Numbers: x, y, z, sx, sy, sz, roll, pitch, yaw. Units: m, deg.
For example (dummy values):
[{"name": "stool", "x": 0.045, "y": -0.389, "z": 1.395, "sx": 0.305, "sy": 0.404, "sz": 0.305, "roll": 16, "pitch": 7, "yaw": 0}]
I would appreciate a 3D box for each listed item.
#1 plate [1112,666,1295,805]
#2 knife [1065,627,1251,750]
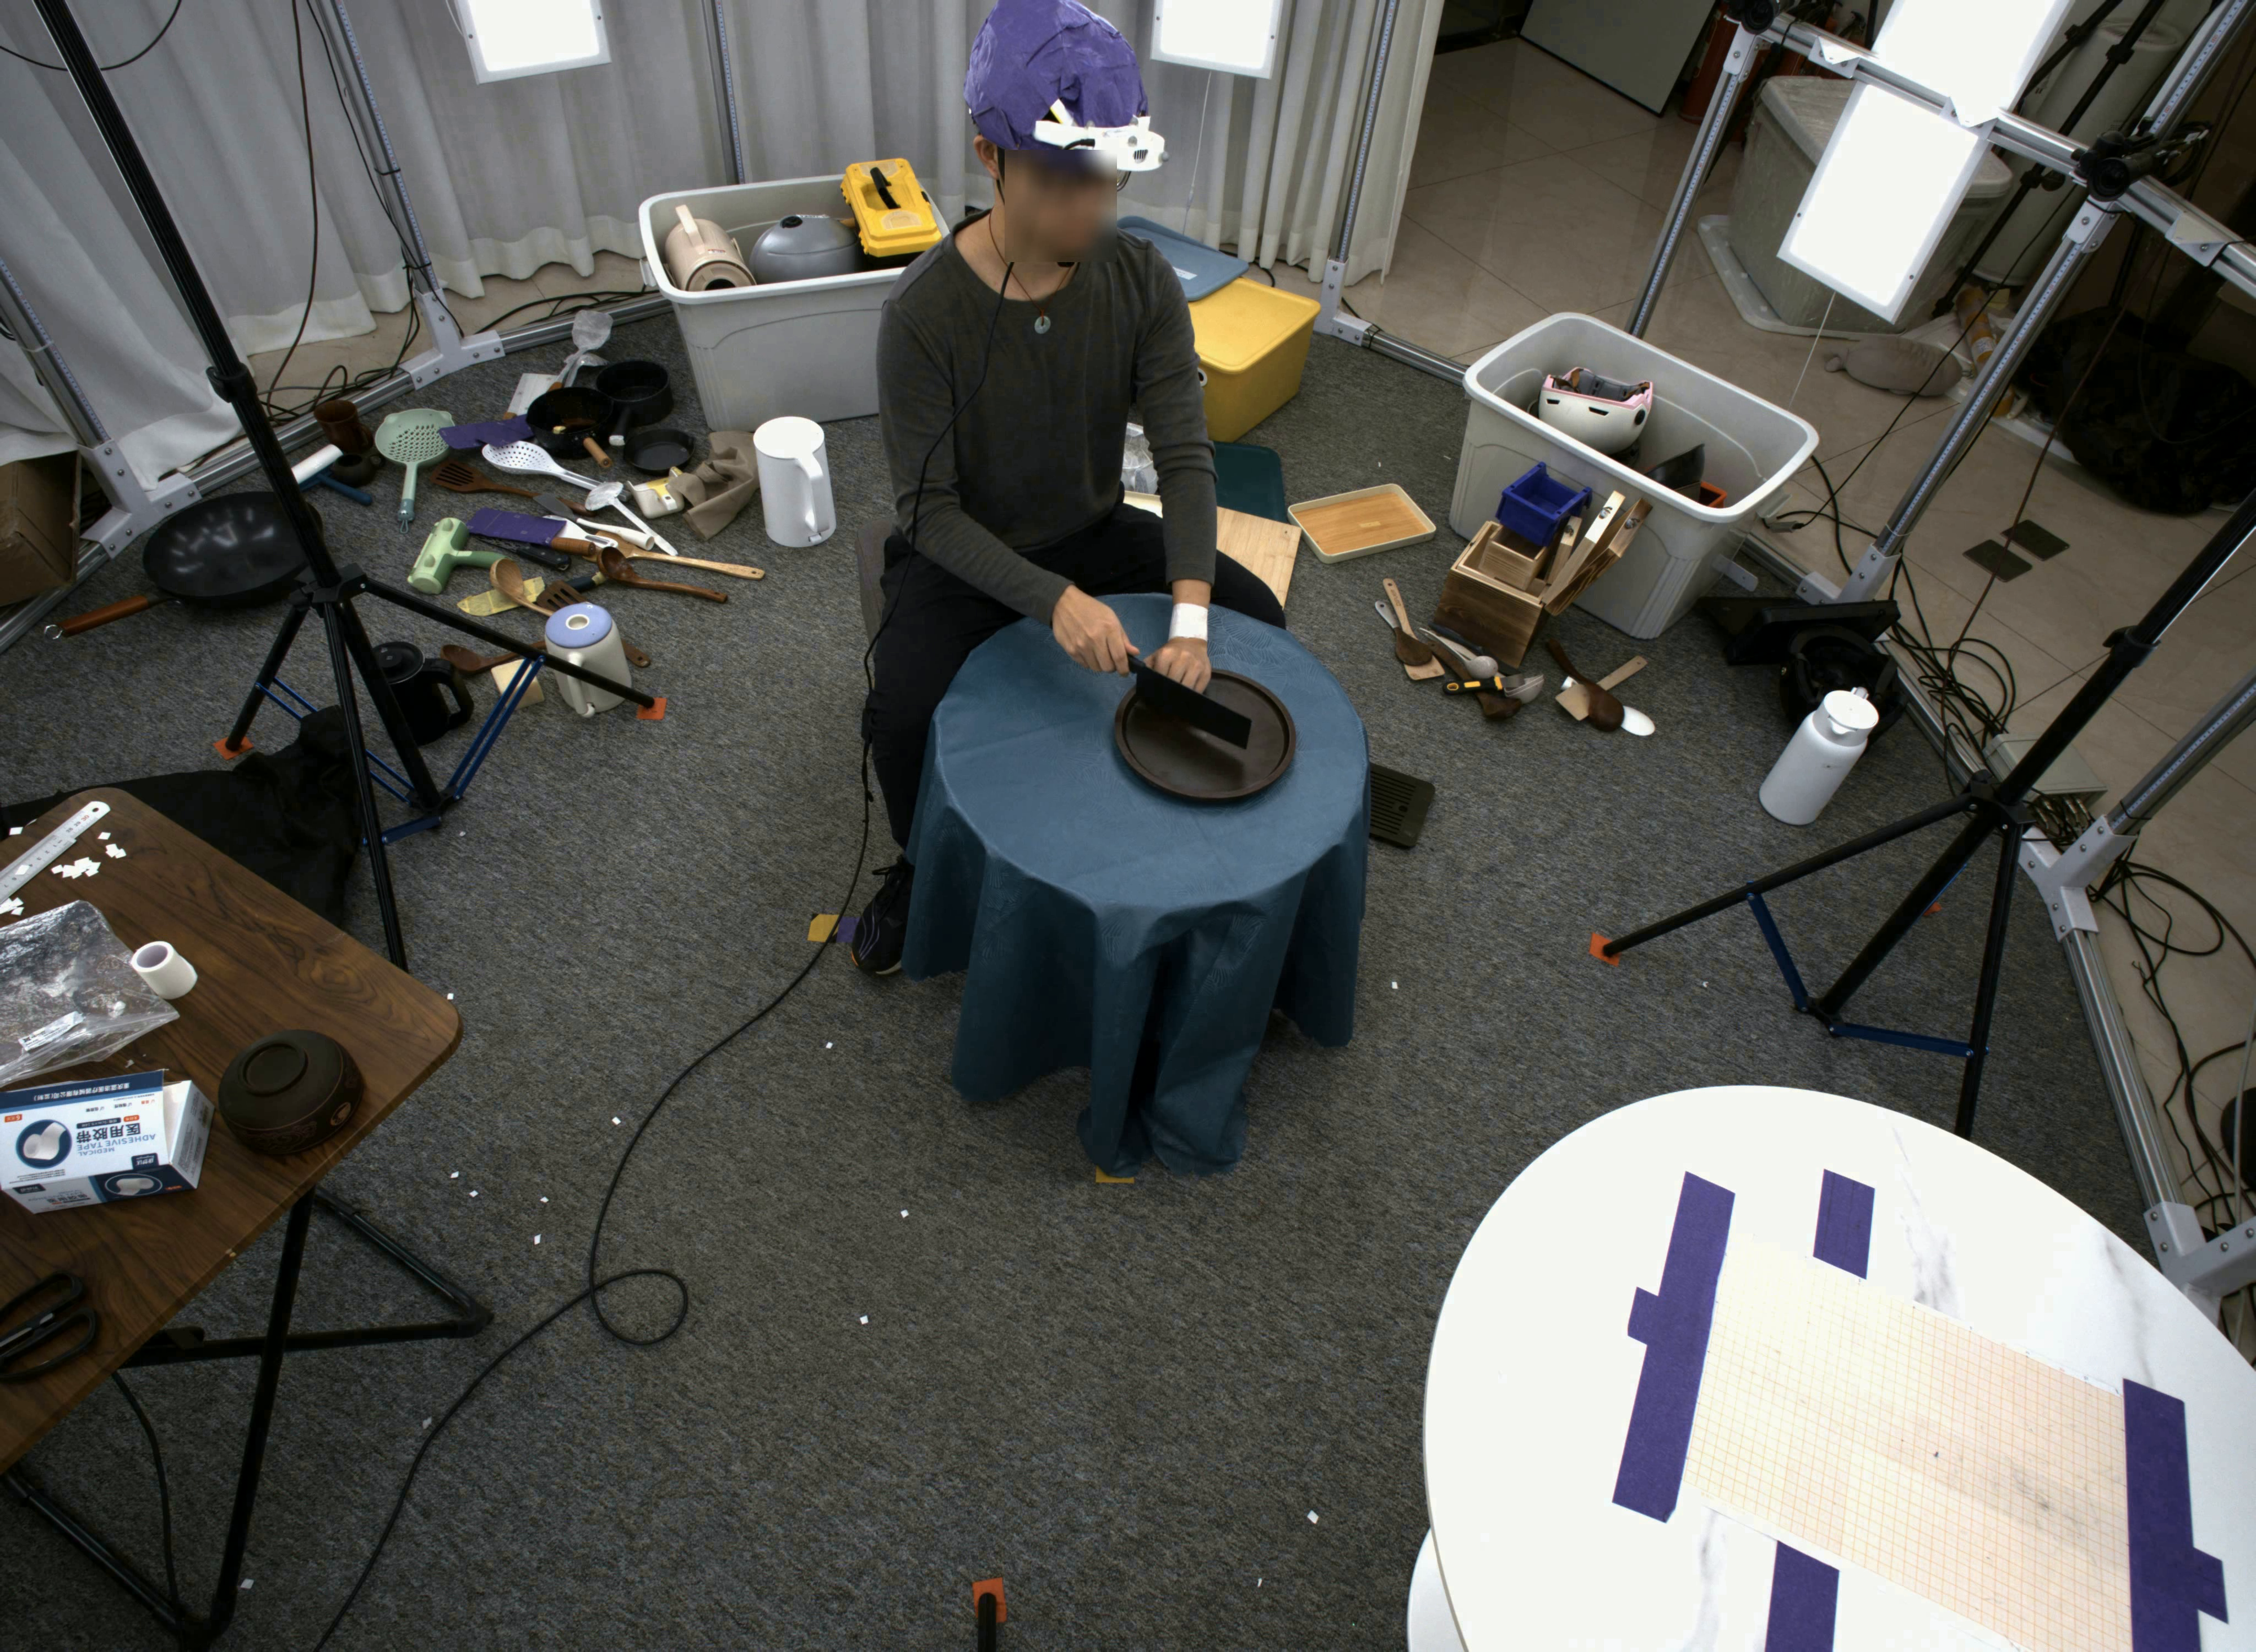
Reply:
[{"name": "plate", "x": 0.104, "y": -0.127, "z": 1.770, "sx": 0.254, "sy": 0.028, "sz": 0.261, "roll": 1, "pitch": 50, "yaw": -2}, {"name": "knife", "x": 0.039, "y": -0.192, "z": 1.760, "sx": 0.305, "sy": 0.079, "sz": 0.021, "roll": 32, "pitch": 55, "yaw": 16}]
